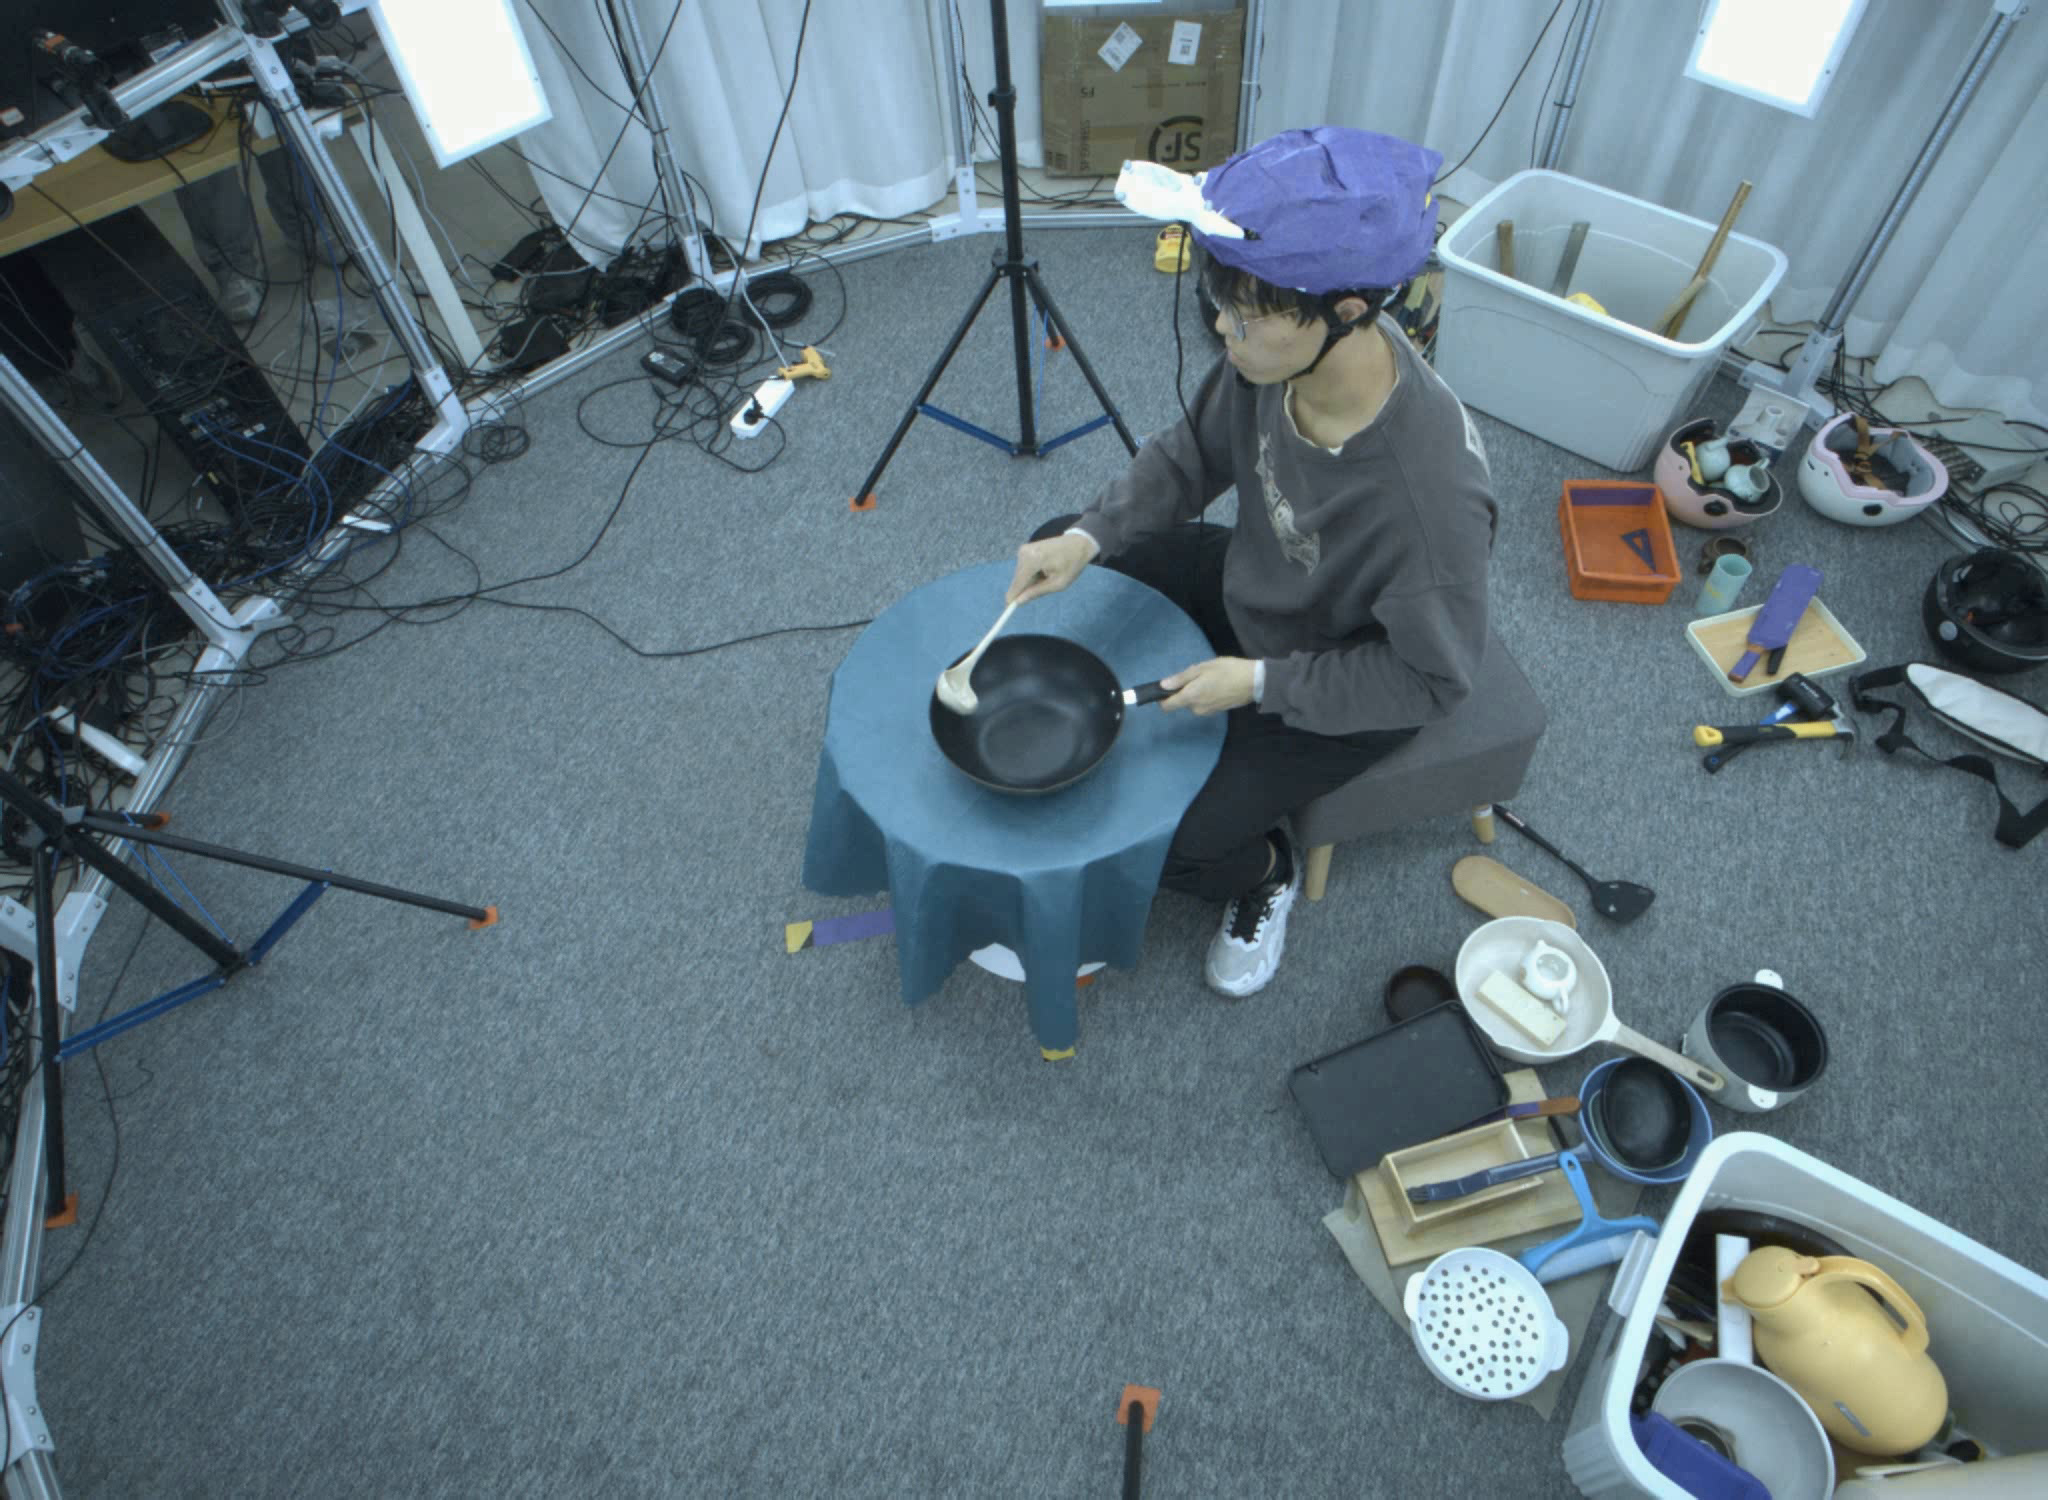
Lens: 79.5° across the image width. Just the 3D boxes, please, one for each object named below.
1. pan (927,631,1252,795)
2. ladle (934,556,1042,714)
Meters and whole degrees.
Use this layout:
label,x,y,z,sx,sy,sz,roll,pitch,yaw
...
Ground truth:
label,x,y,z,sx,sy,sz,roll,pitch,yaw
pan,0.094,-0.053,1.768,0.465,0.088,0.284,-8,54,-5
ladle,-0.037,-0.166,1.735,0.254,0.073,0.071,-56,25,-2
